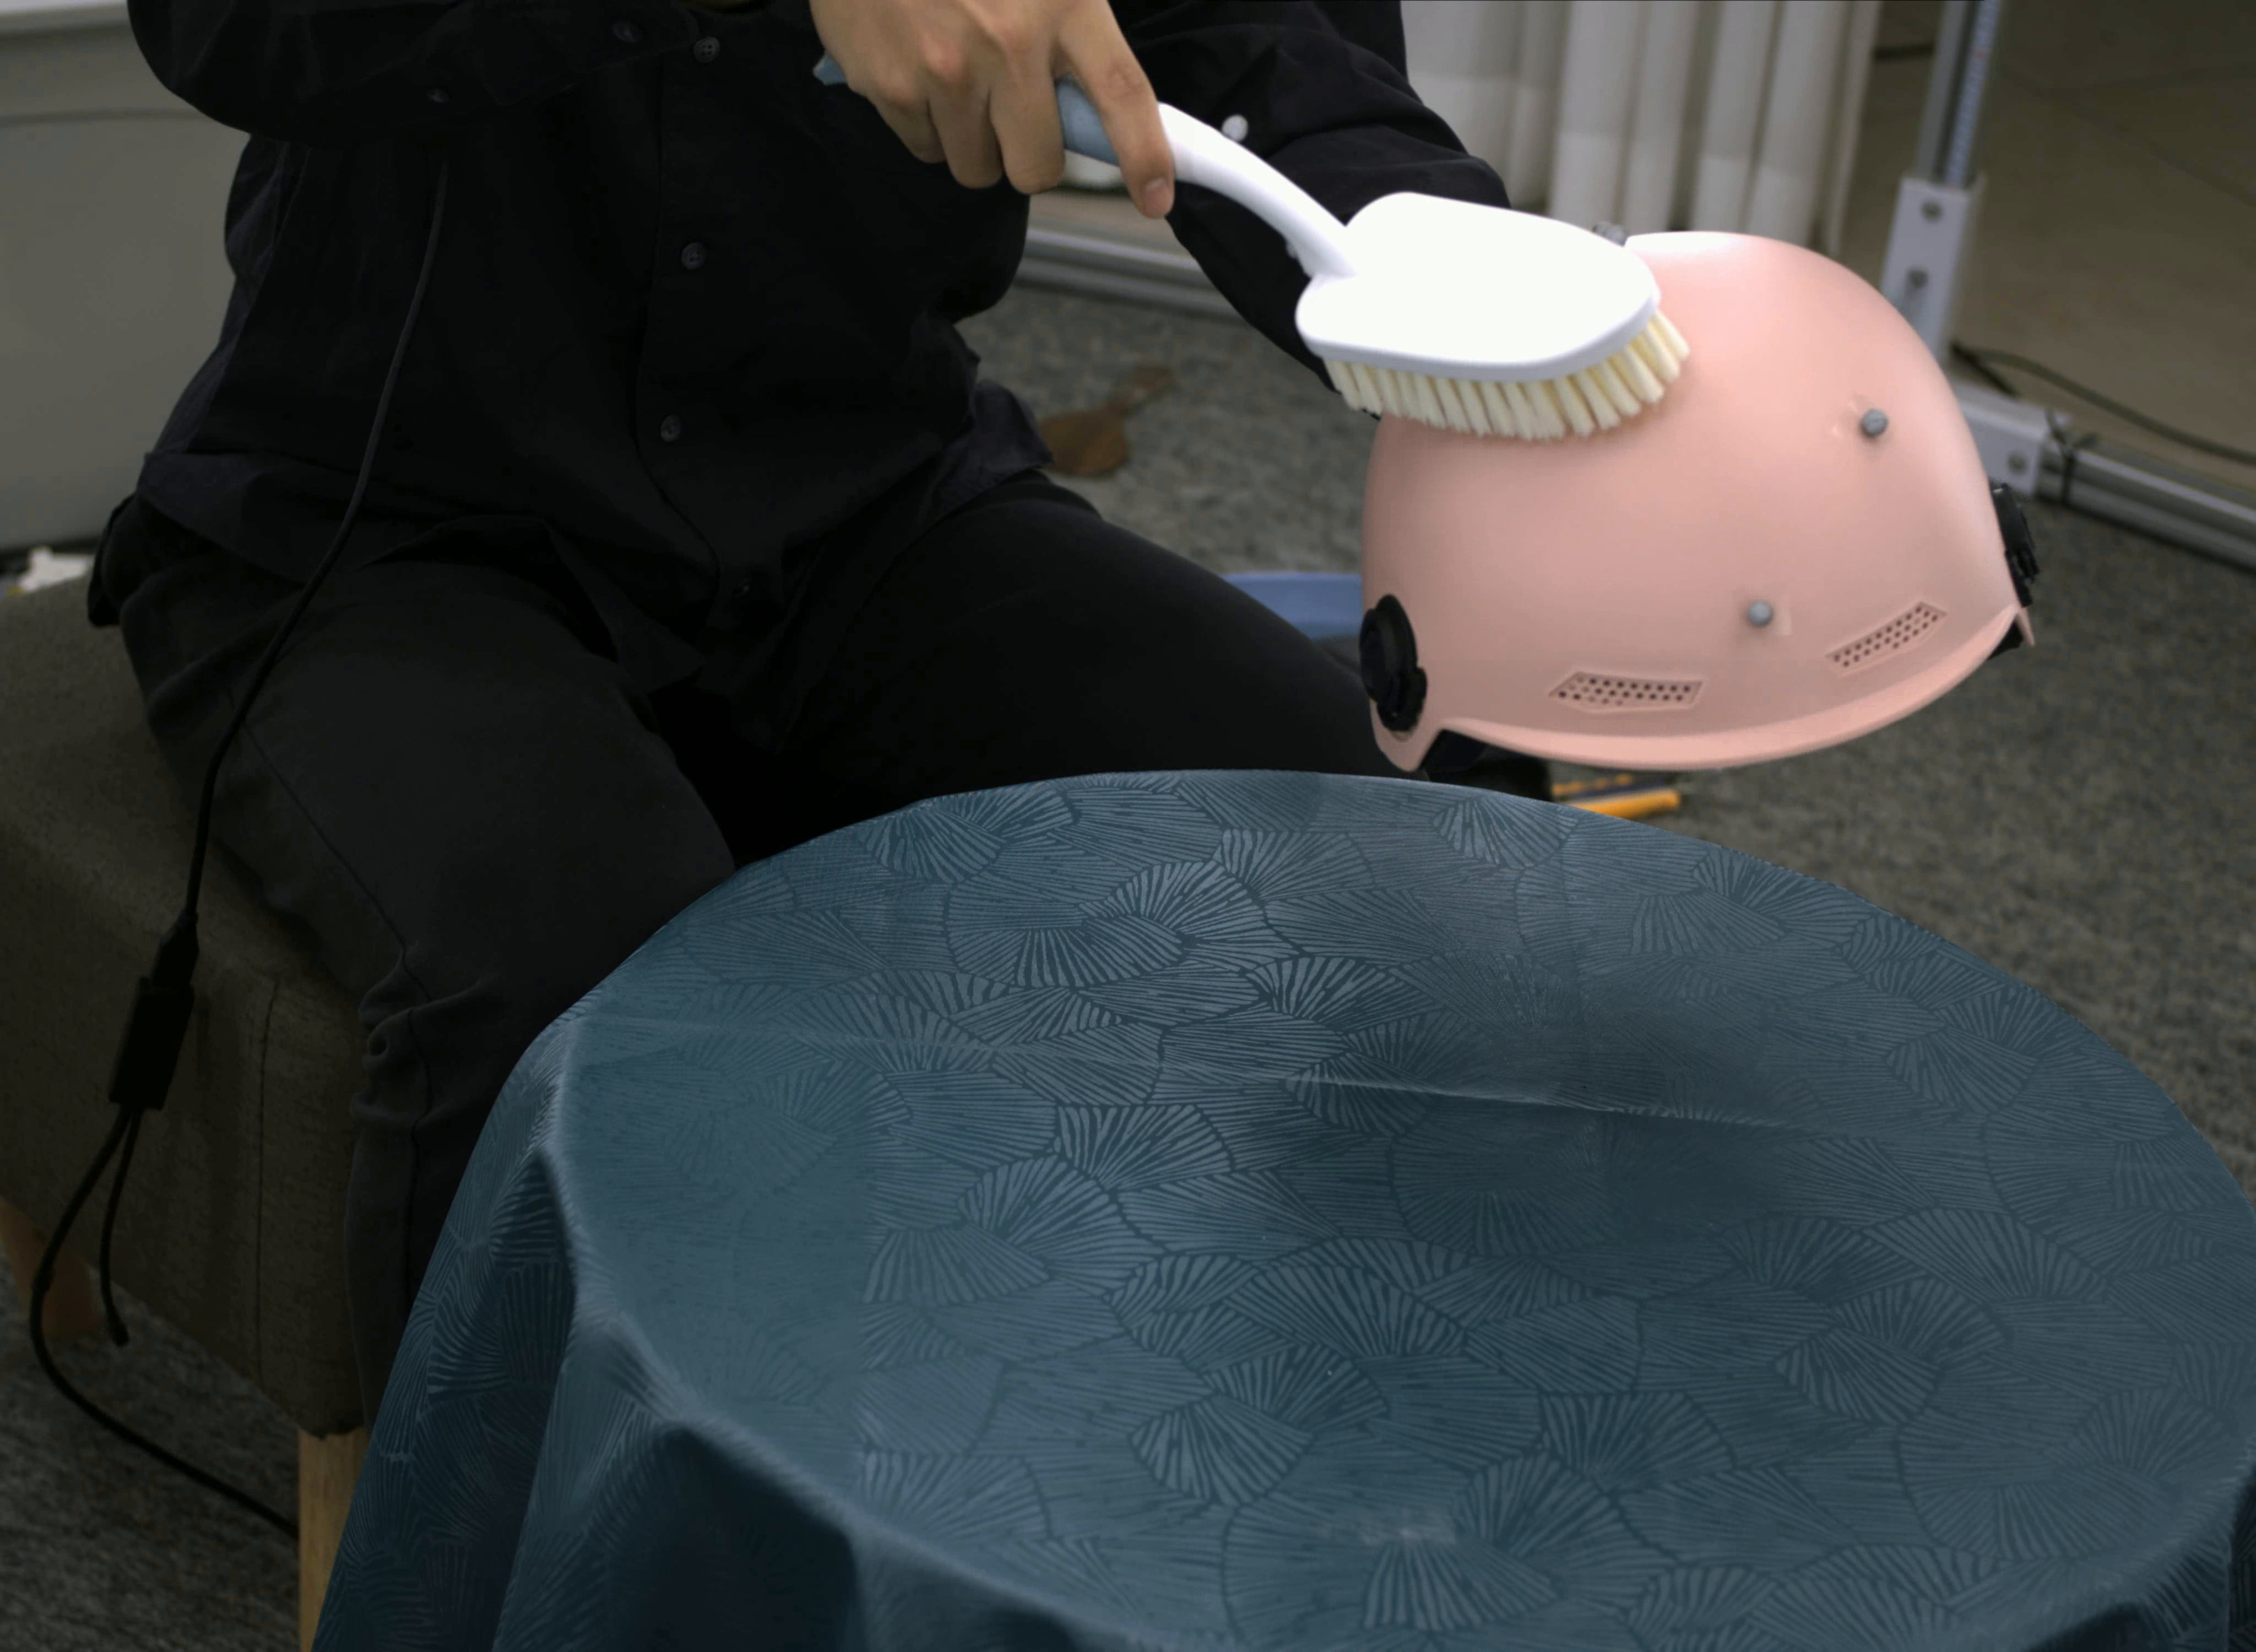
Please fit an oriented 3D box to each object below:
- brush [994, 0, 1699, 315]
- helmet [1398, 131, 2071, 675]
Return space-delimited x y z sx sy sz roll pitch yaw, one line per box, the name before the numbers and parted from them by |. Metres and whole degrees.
brush | 0.047 -0.241 1.806 0.327 0.084 0.083 21 25 25
helmet | 0.198 -0.153 1.829 0.233 0.158 0.267 -11 17 -3
